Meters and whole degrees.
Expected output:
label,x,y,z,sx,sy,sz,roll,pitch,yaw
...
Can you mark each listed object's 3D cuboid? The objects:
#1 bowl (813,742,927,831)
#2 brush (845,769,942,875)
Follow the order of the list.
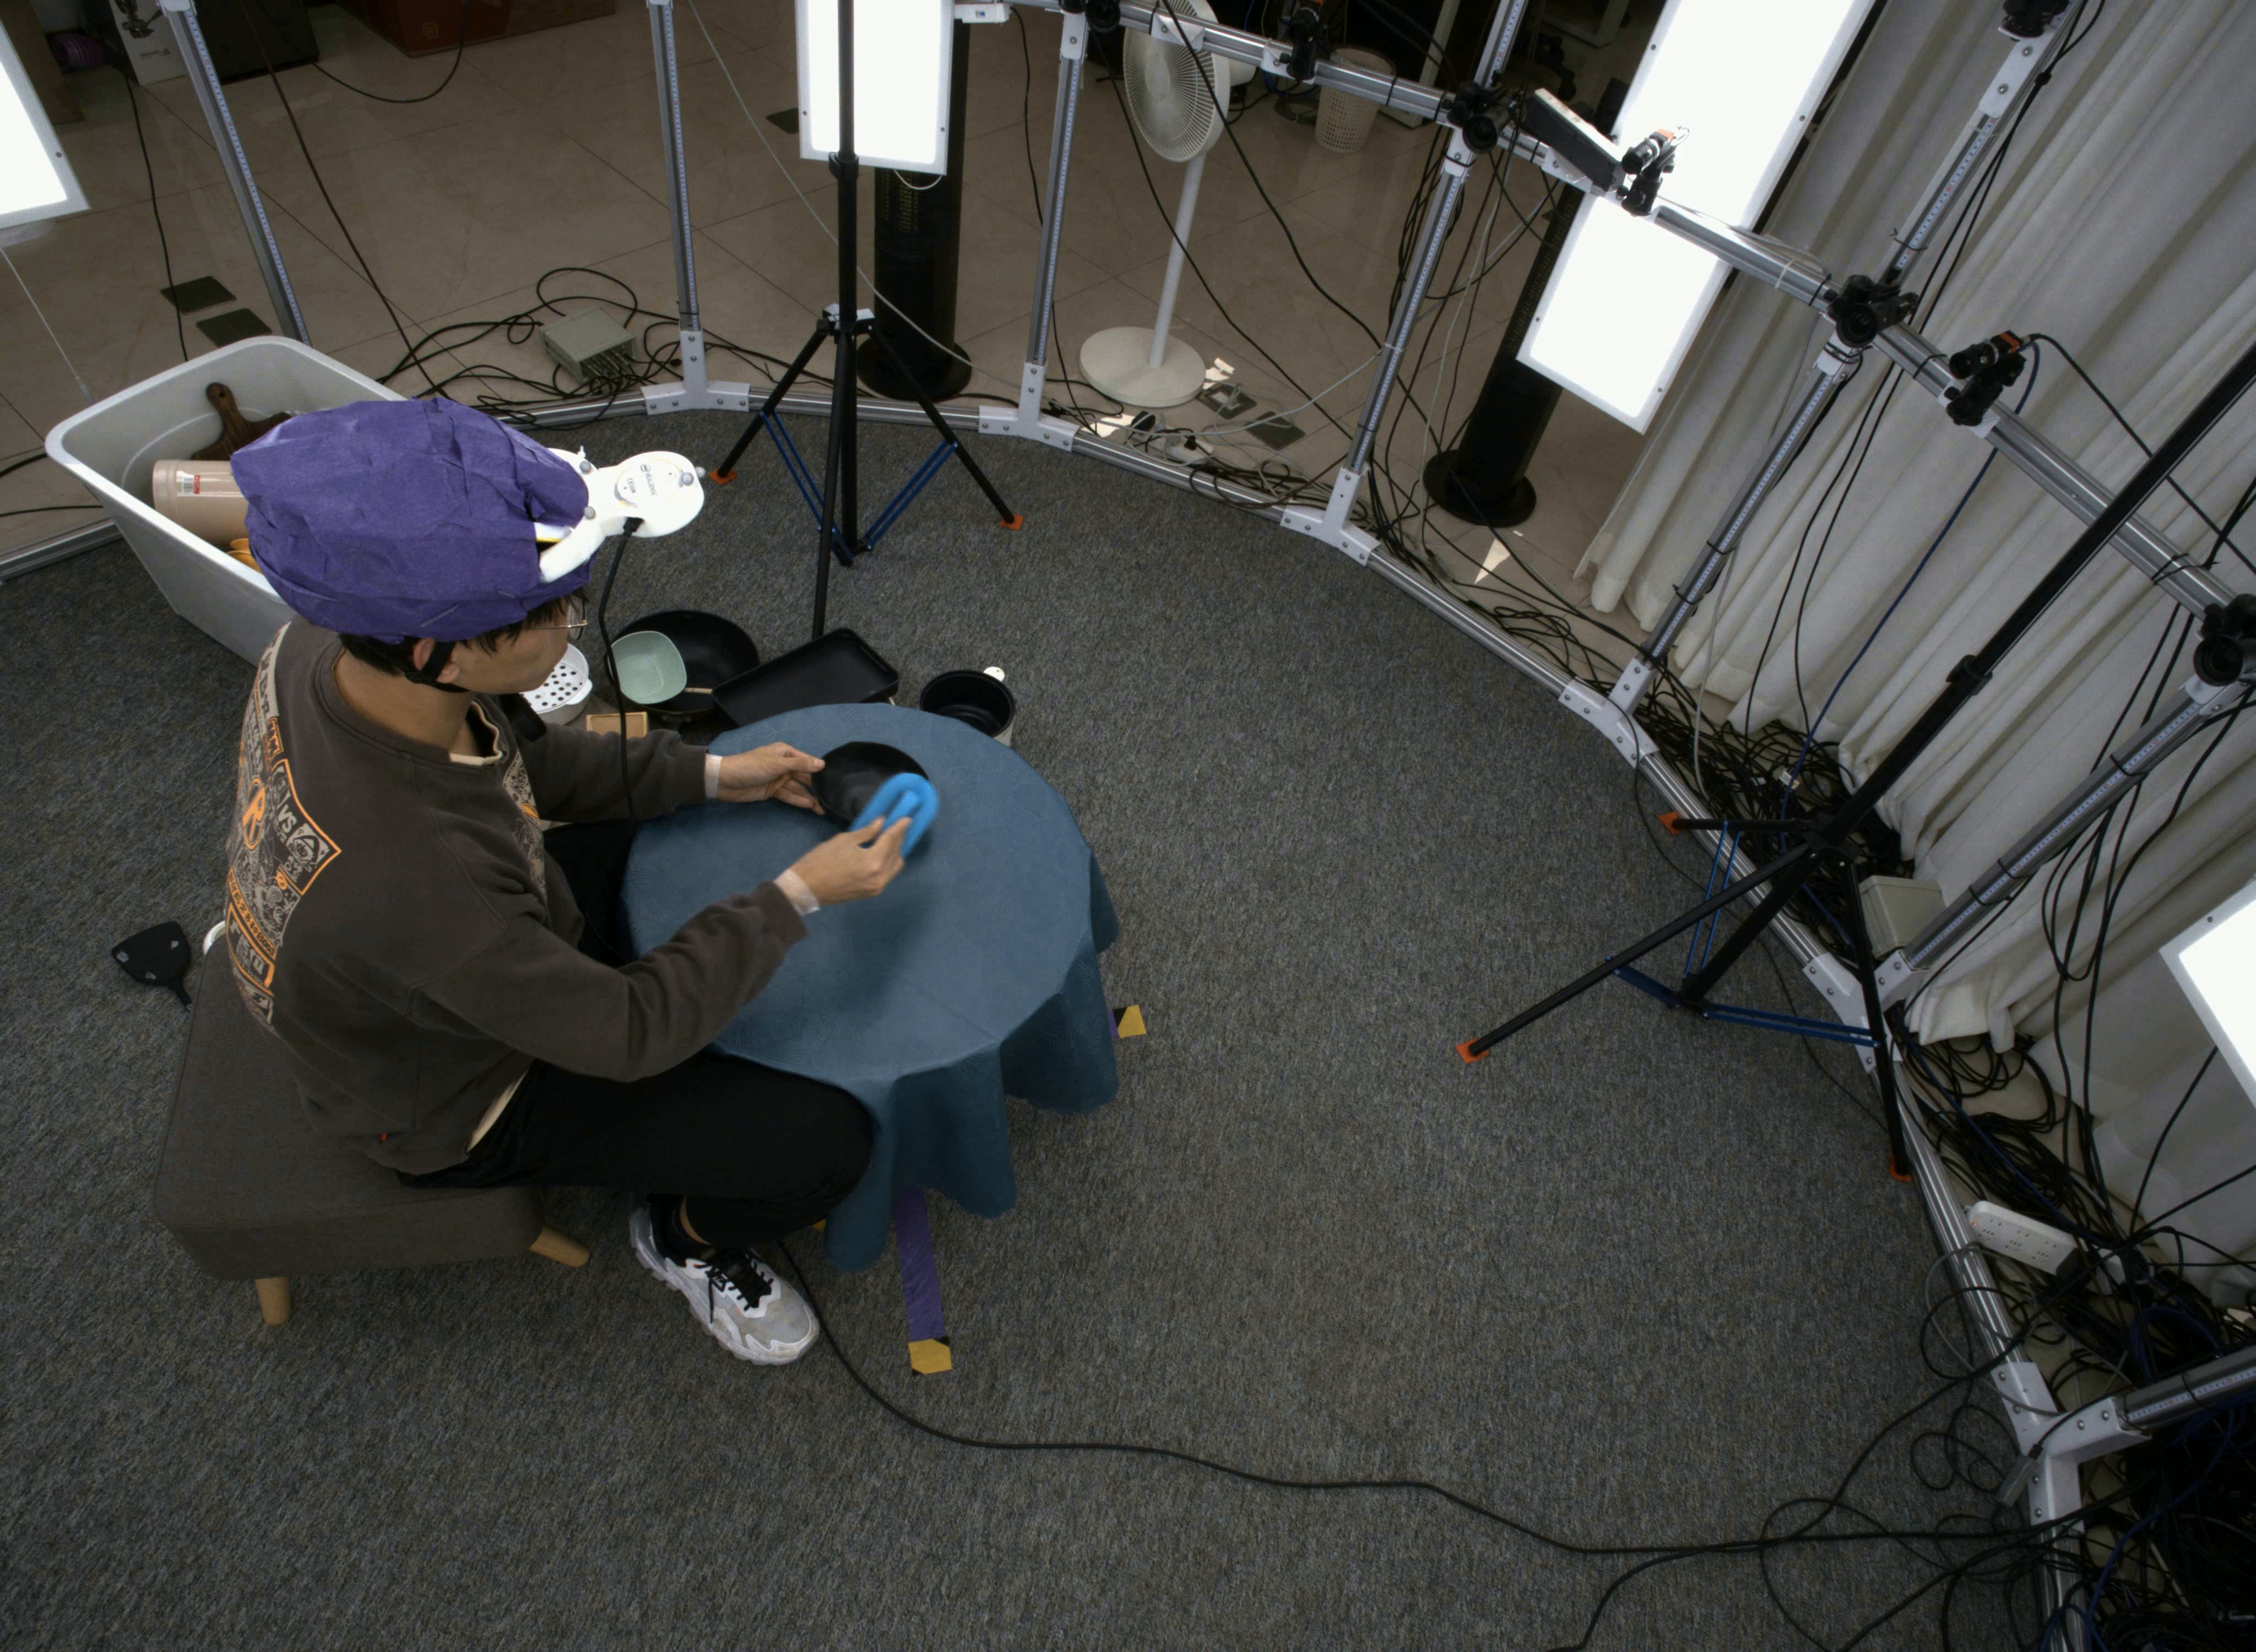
label,x,y,z,sx,sy,sz,roll,pitch,yaw
bowl,-0.341,-0.037,1.745,0.168,0.068,0.136,26,54,5
brush,-0.285,-0.003,1.593,0.085,0.063,0.142,39,85,-12
